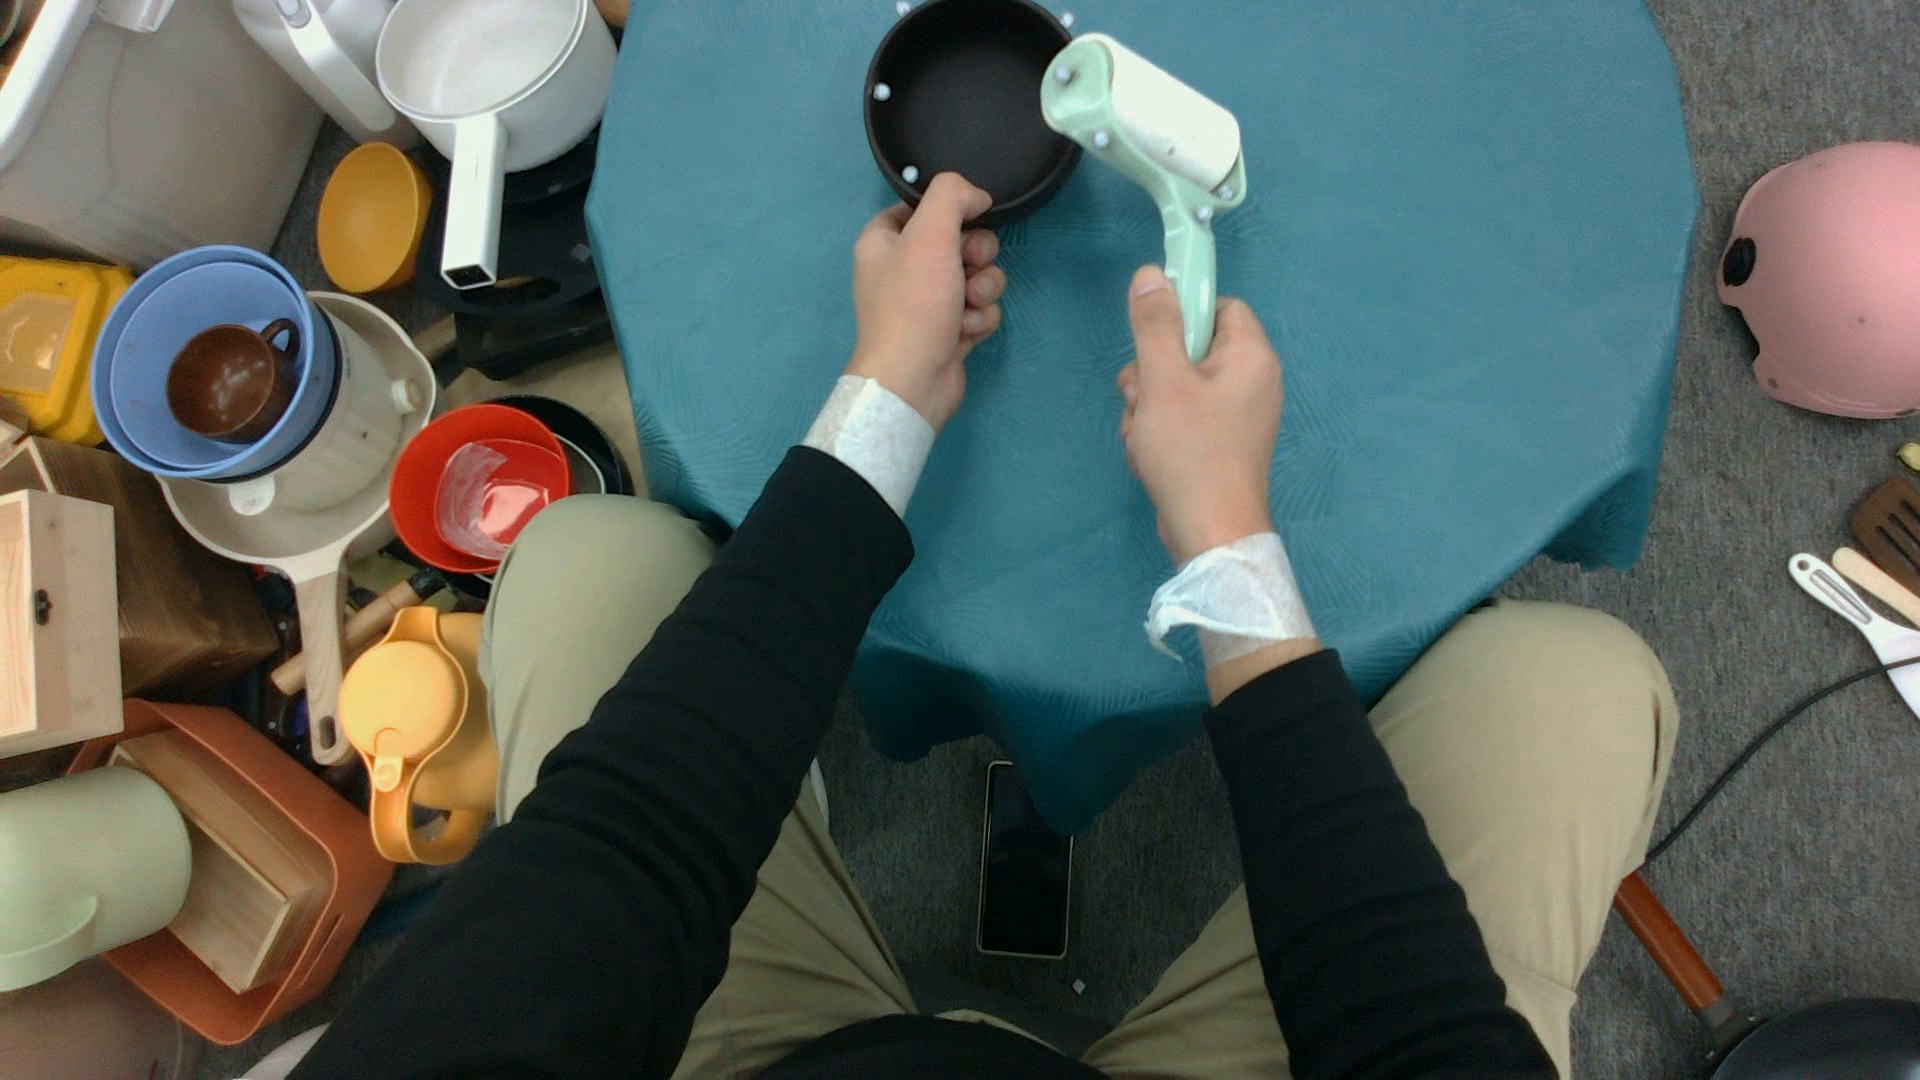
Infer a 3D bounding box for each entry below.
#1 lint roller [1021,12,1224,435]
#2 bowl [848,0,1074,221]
[{"bbox_3d":[0.088,-0.148,0.658,0.048,0.117,0.198,-21,68,39],"label":"lint roller"},{"bbox_3d":[0.002,-0.226,0.726,0.118,0.070,0.118,0,90,2],"label":"bowl"}]
